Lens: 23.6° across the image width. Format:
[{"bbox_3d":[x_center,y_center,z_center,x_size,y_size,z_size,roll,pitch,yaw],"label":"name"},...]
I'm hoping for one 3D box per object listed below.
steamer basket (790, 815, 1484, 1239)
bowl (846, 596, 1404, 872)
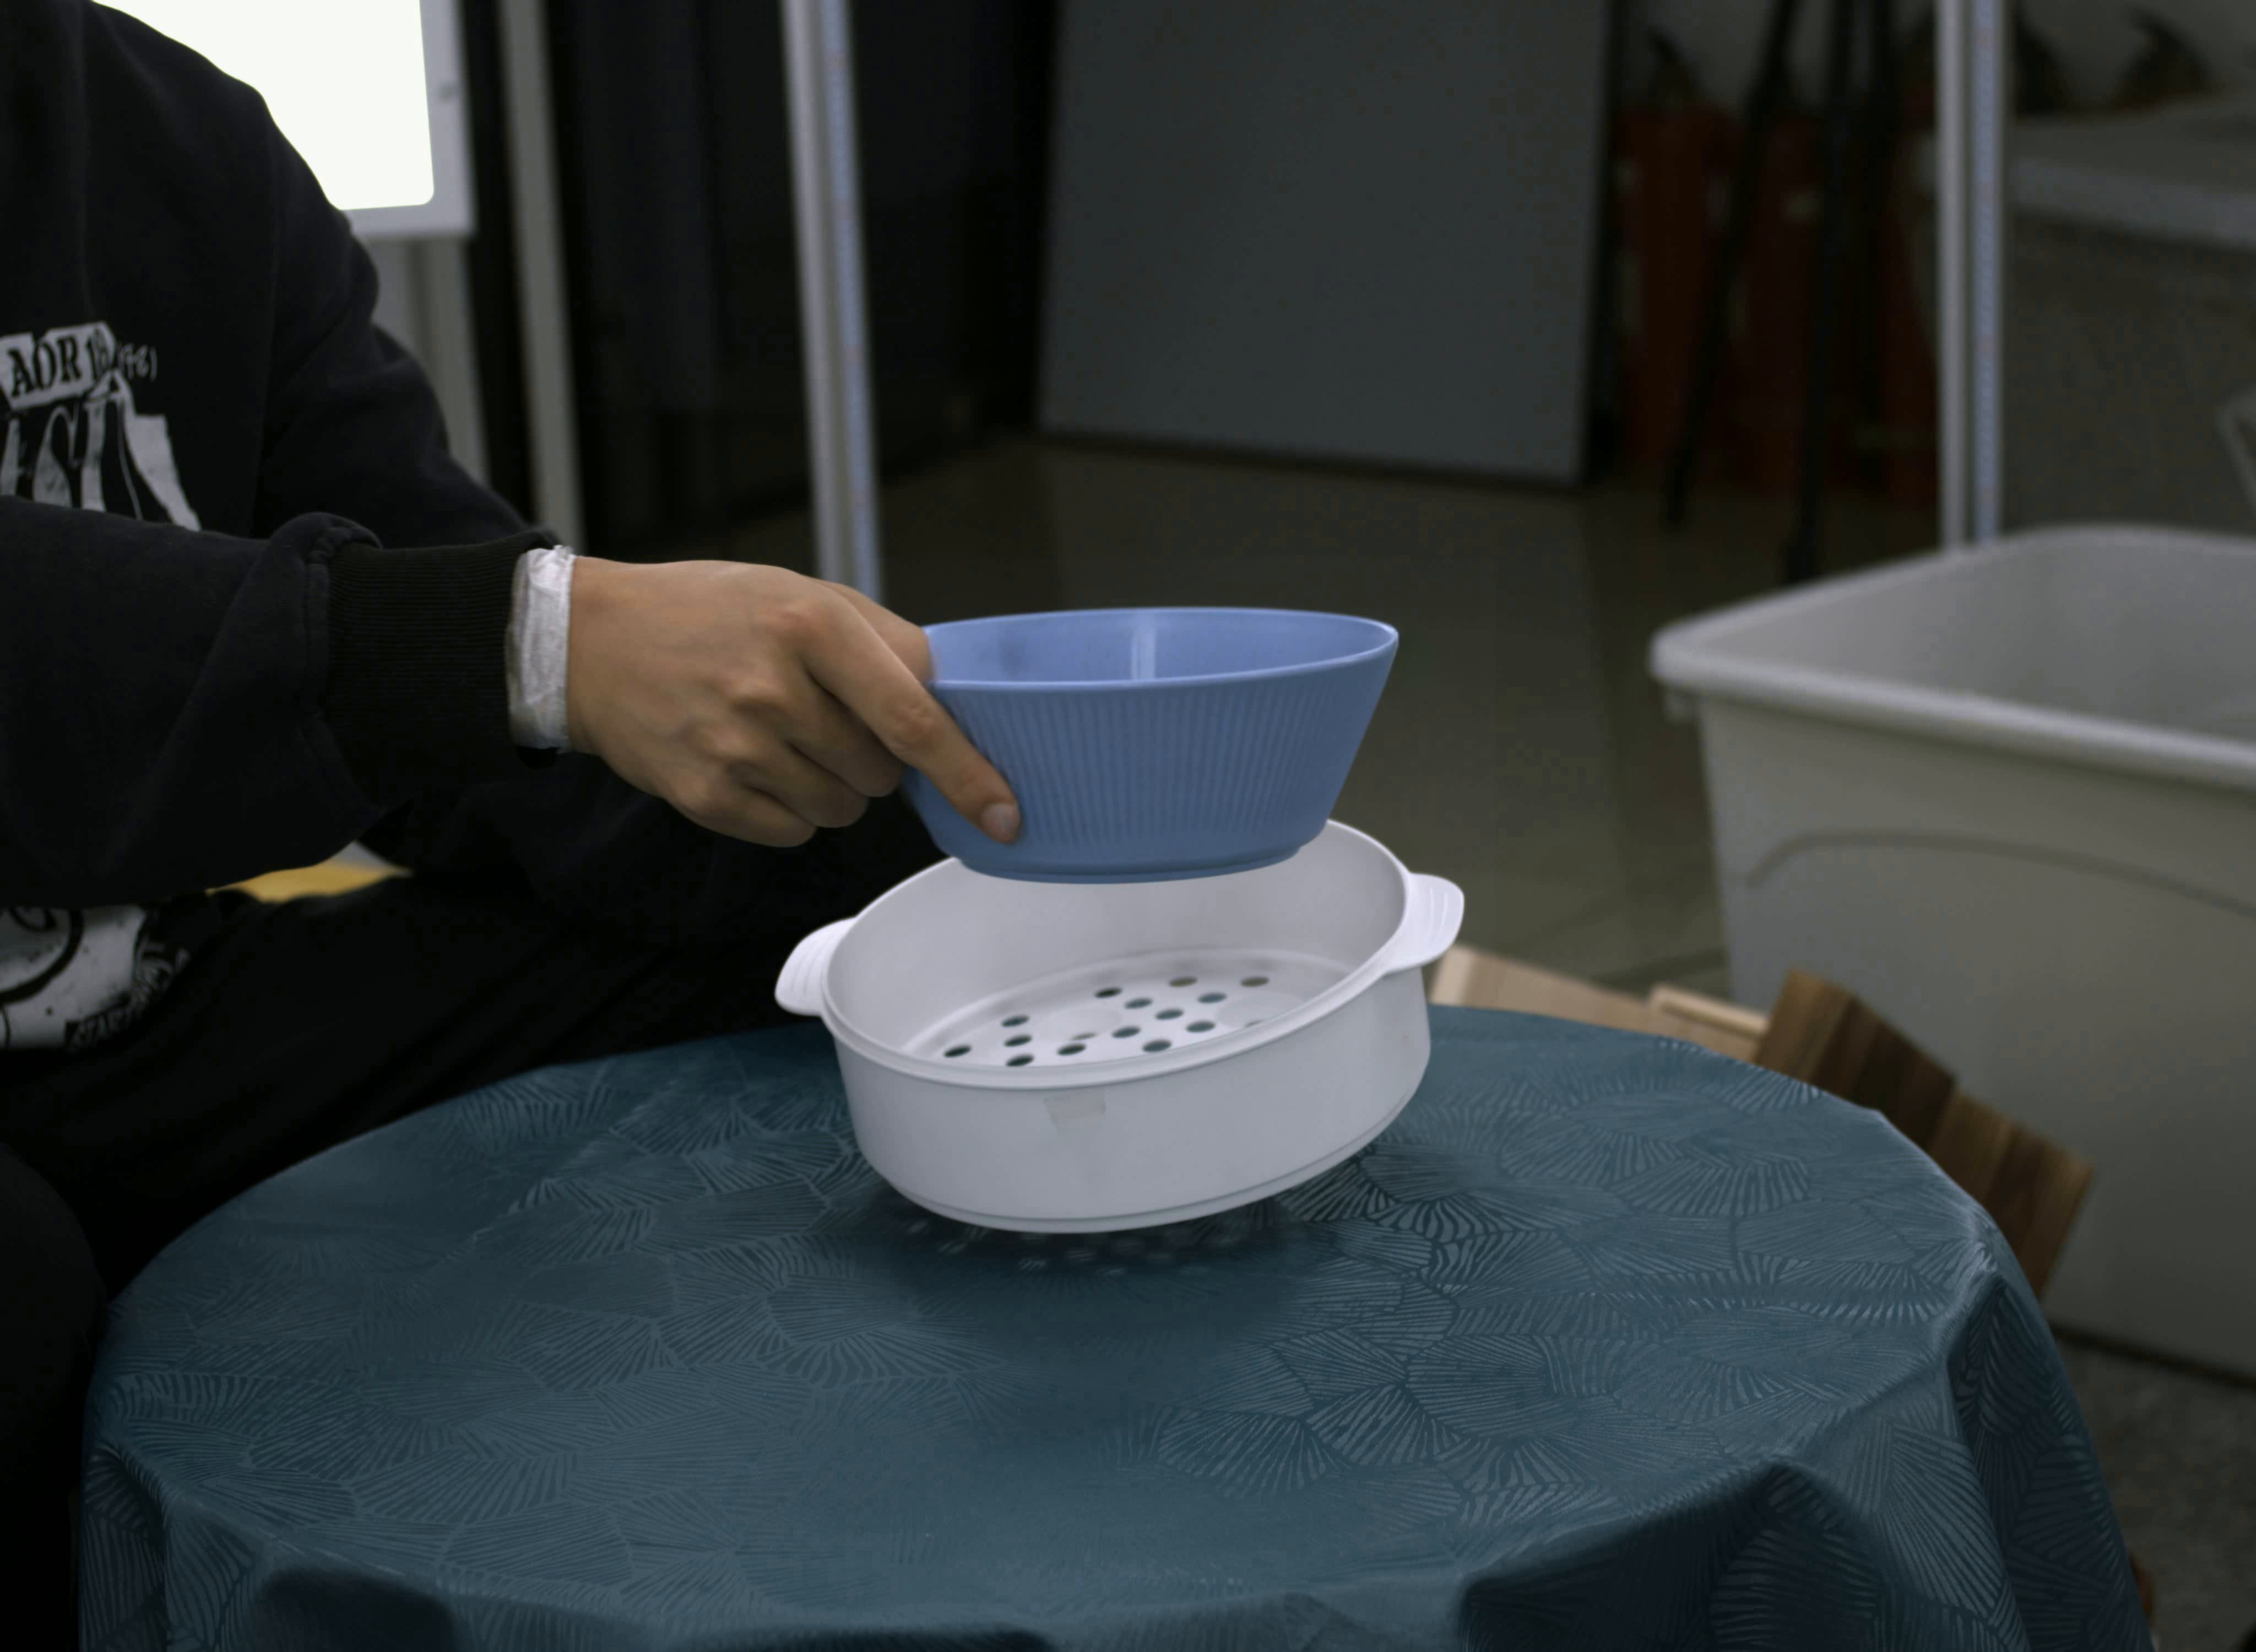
[{"bbox_3d":[0.006,0.063,1.764,0.229,0.070,0.201,-3,24,12],"label":"steamer basket"},{"bbox_3d":[0.001,-0.028,1.677,0.174,0.071,0.176,-3,8,0],"label":"bowl"}]
